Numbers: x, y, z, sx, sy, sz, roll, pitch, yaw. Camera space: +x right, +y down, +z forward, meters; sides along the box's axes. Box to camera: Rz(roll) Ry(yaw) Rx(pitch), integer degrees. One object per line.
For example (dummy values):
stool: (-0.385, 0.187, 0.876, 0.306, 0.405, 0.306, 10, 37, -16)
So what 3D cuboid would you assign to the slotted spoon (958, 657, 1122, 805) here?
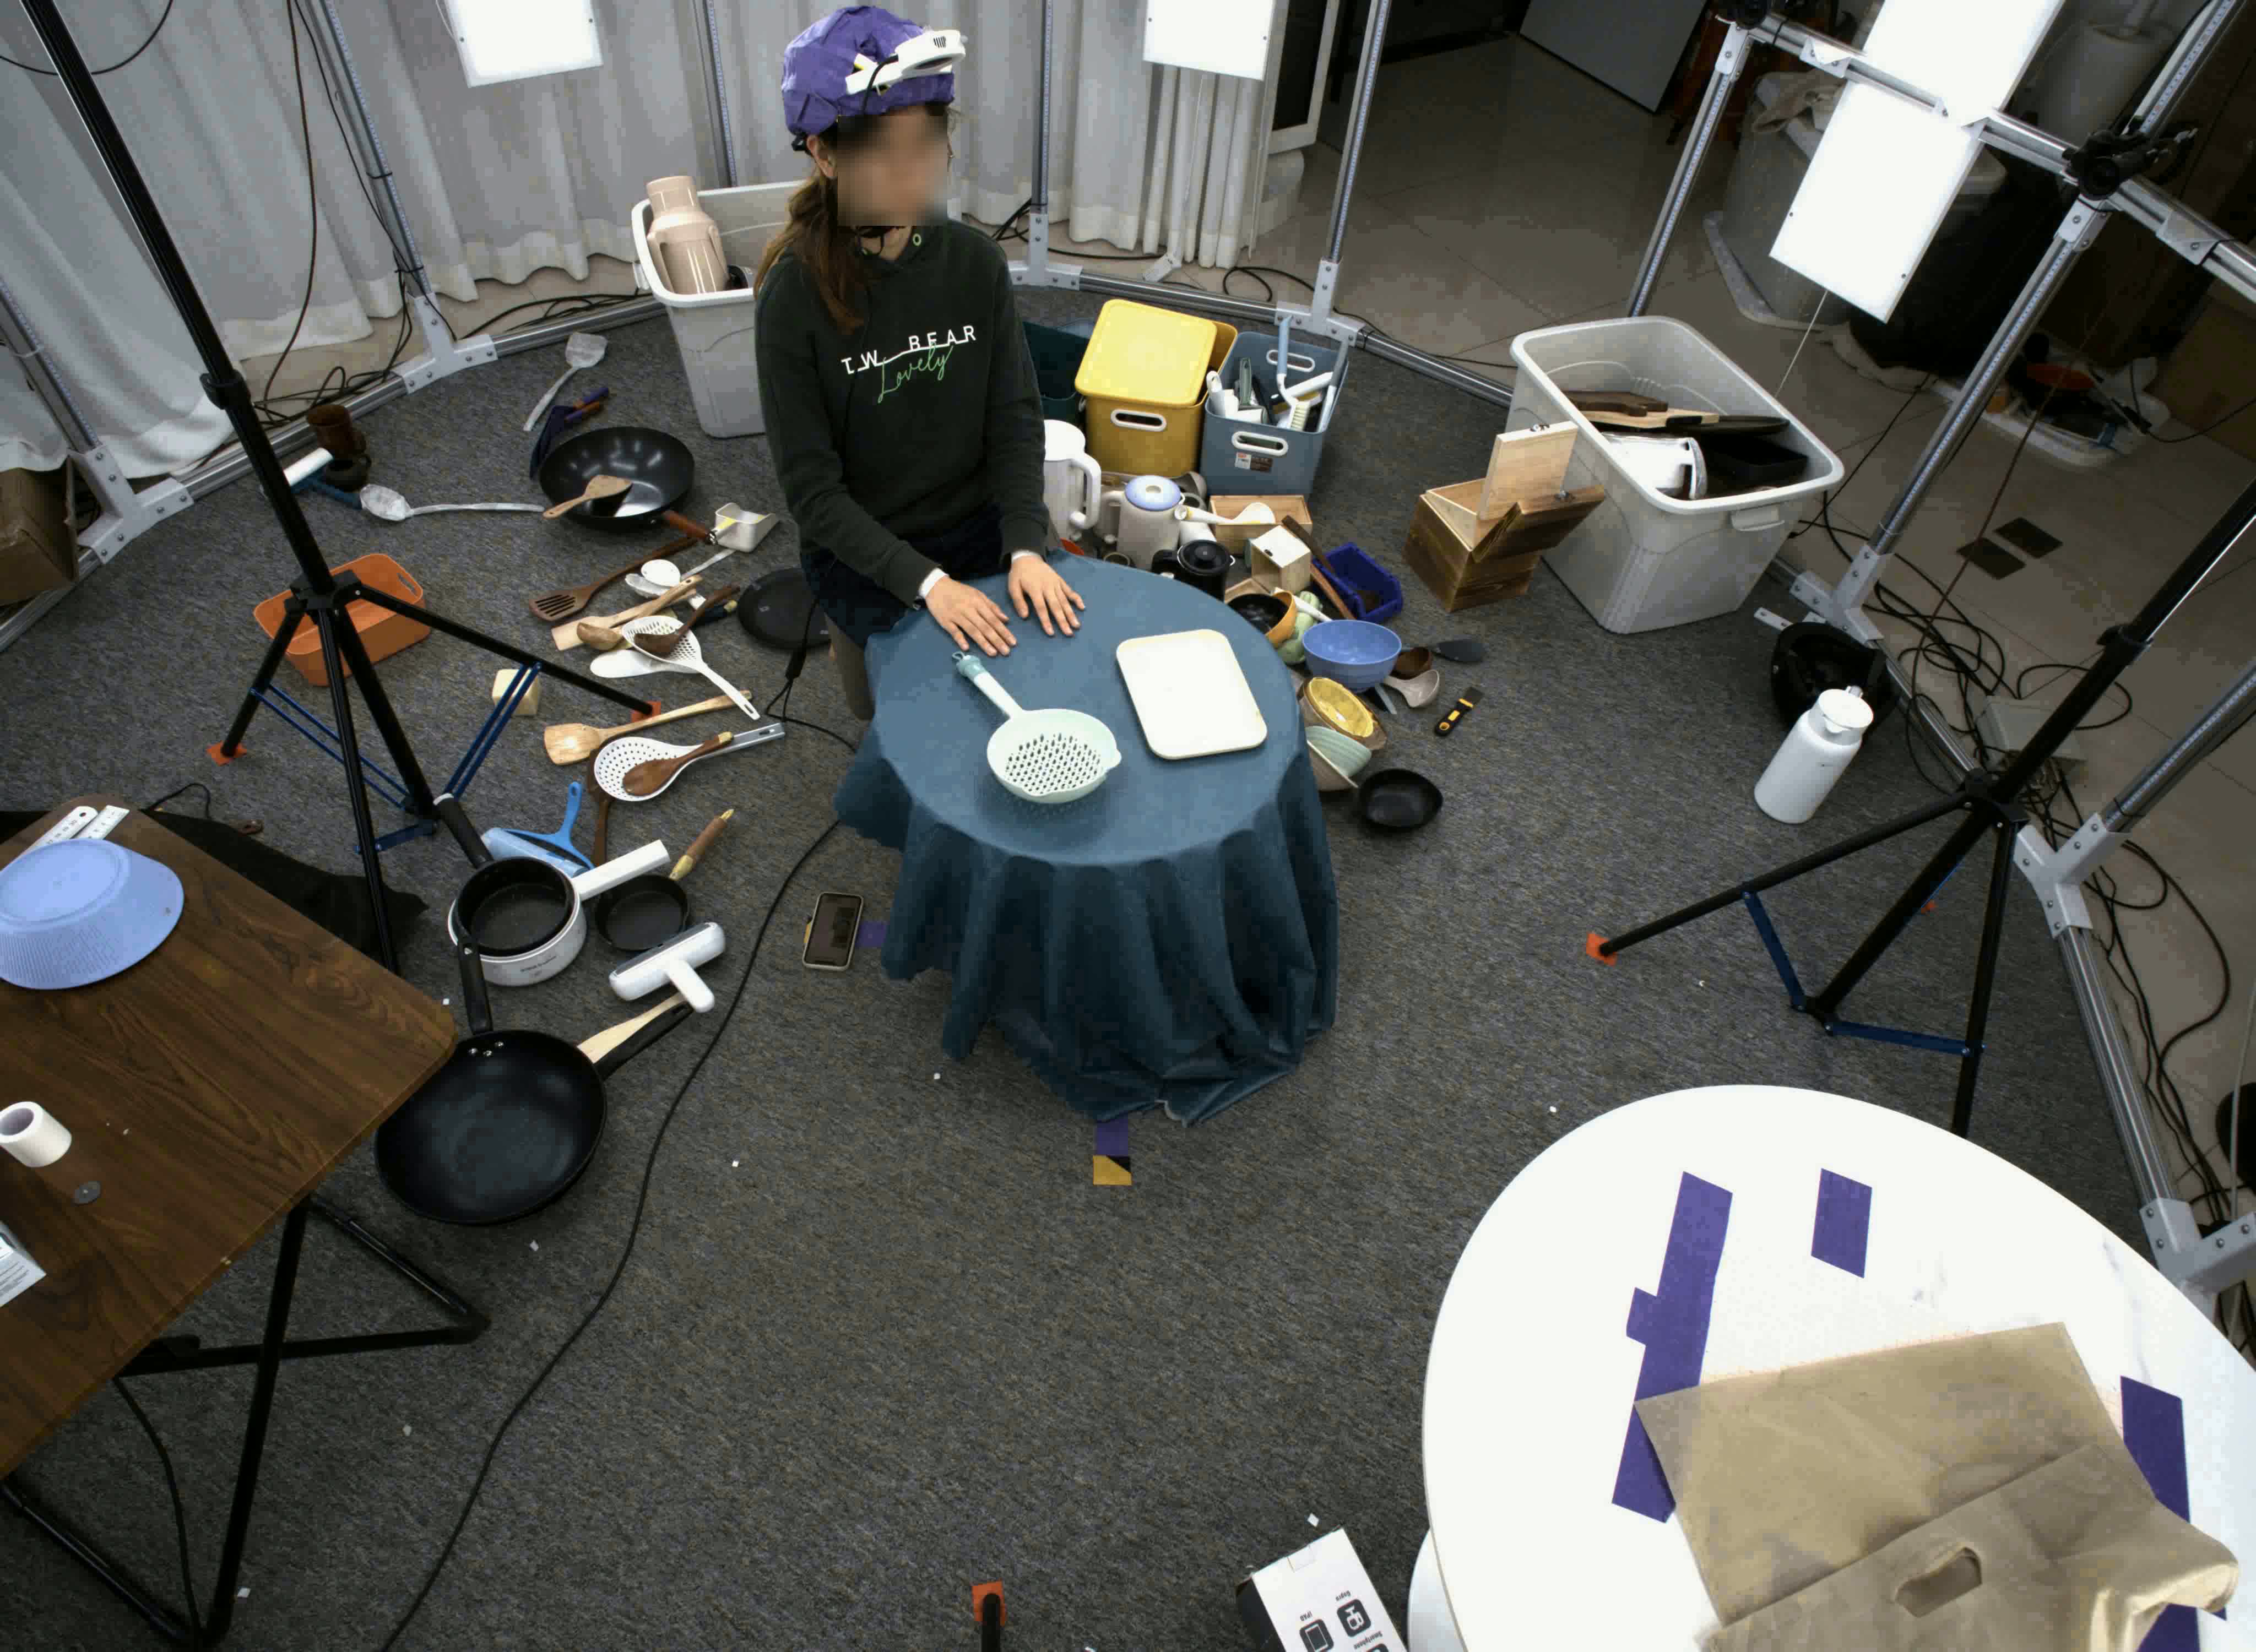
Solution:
slotted spoon: (-0.150, -0.147, 1.761, 0.170, 0.073, 0.366, -22, 53, -22)

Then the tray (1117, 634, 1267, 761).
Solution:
tray: (0.089, -0.186, 1.842, 0.171, 0.017, 0.245, -9, 49, -12)
